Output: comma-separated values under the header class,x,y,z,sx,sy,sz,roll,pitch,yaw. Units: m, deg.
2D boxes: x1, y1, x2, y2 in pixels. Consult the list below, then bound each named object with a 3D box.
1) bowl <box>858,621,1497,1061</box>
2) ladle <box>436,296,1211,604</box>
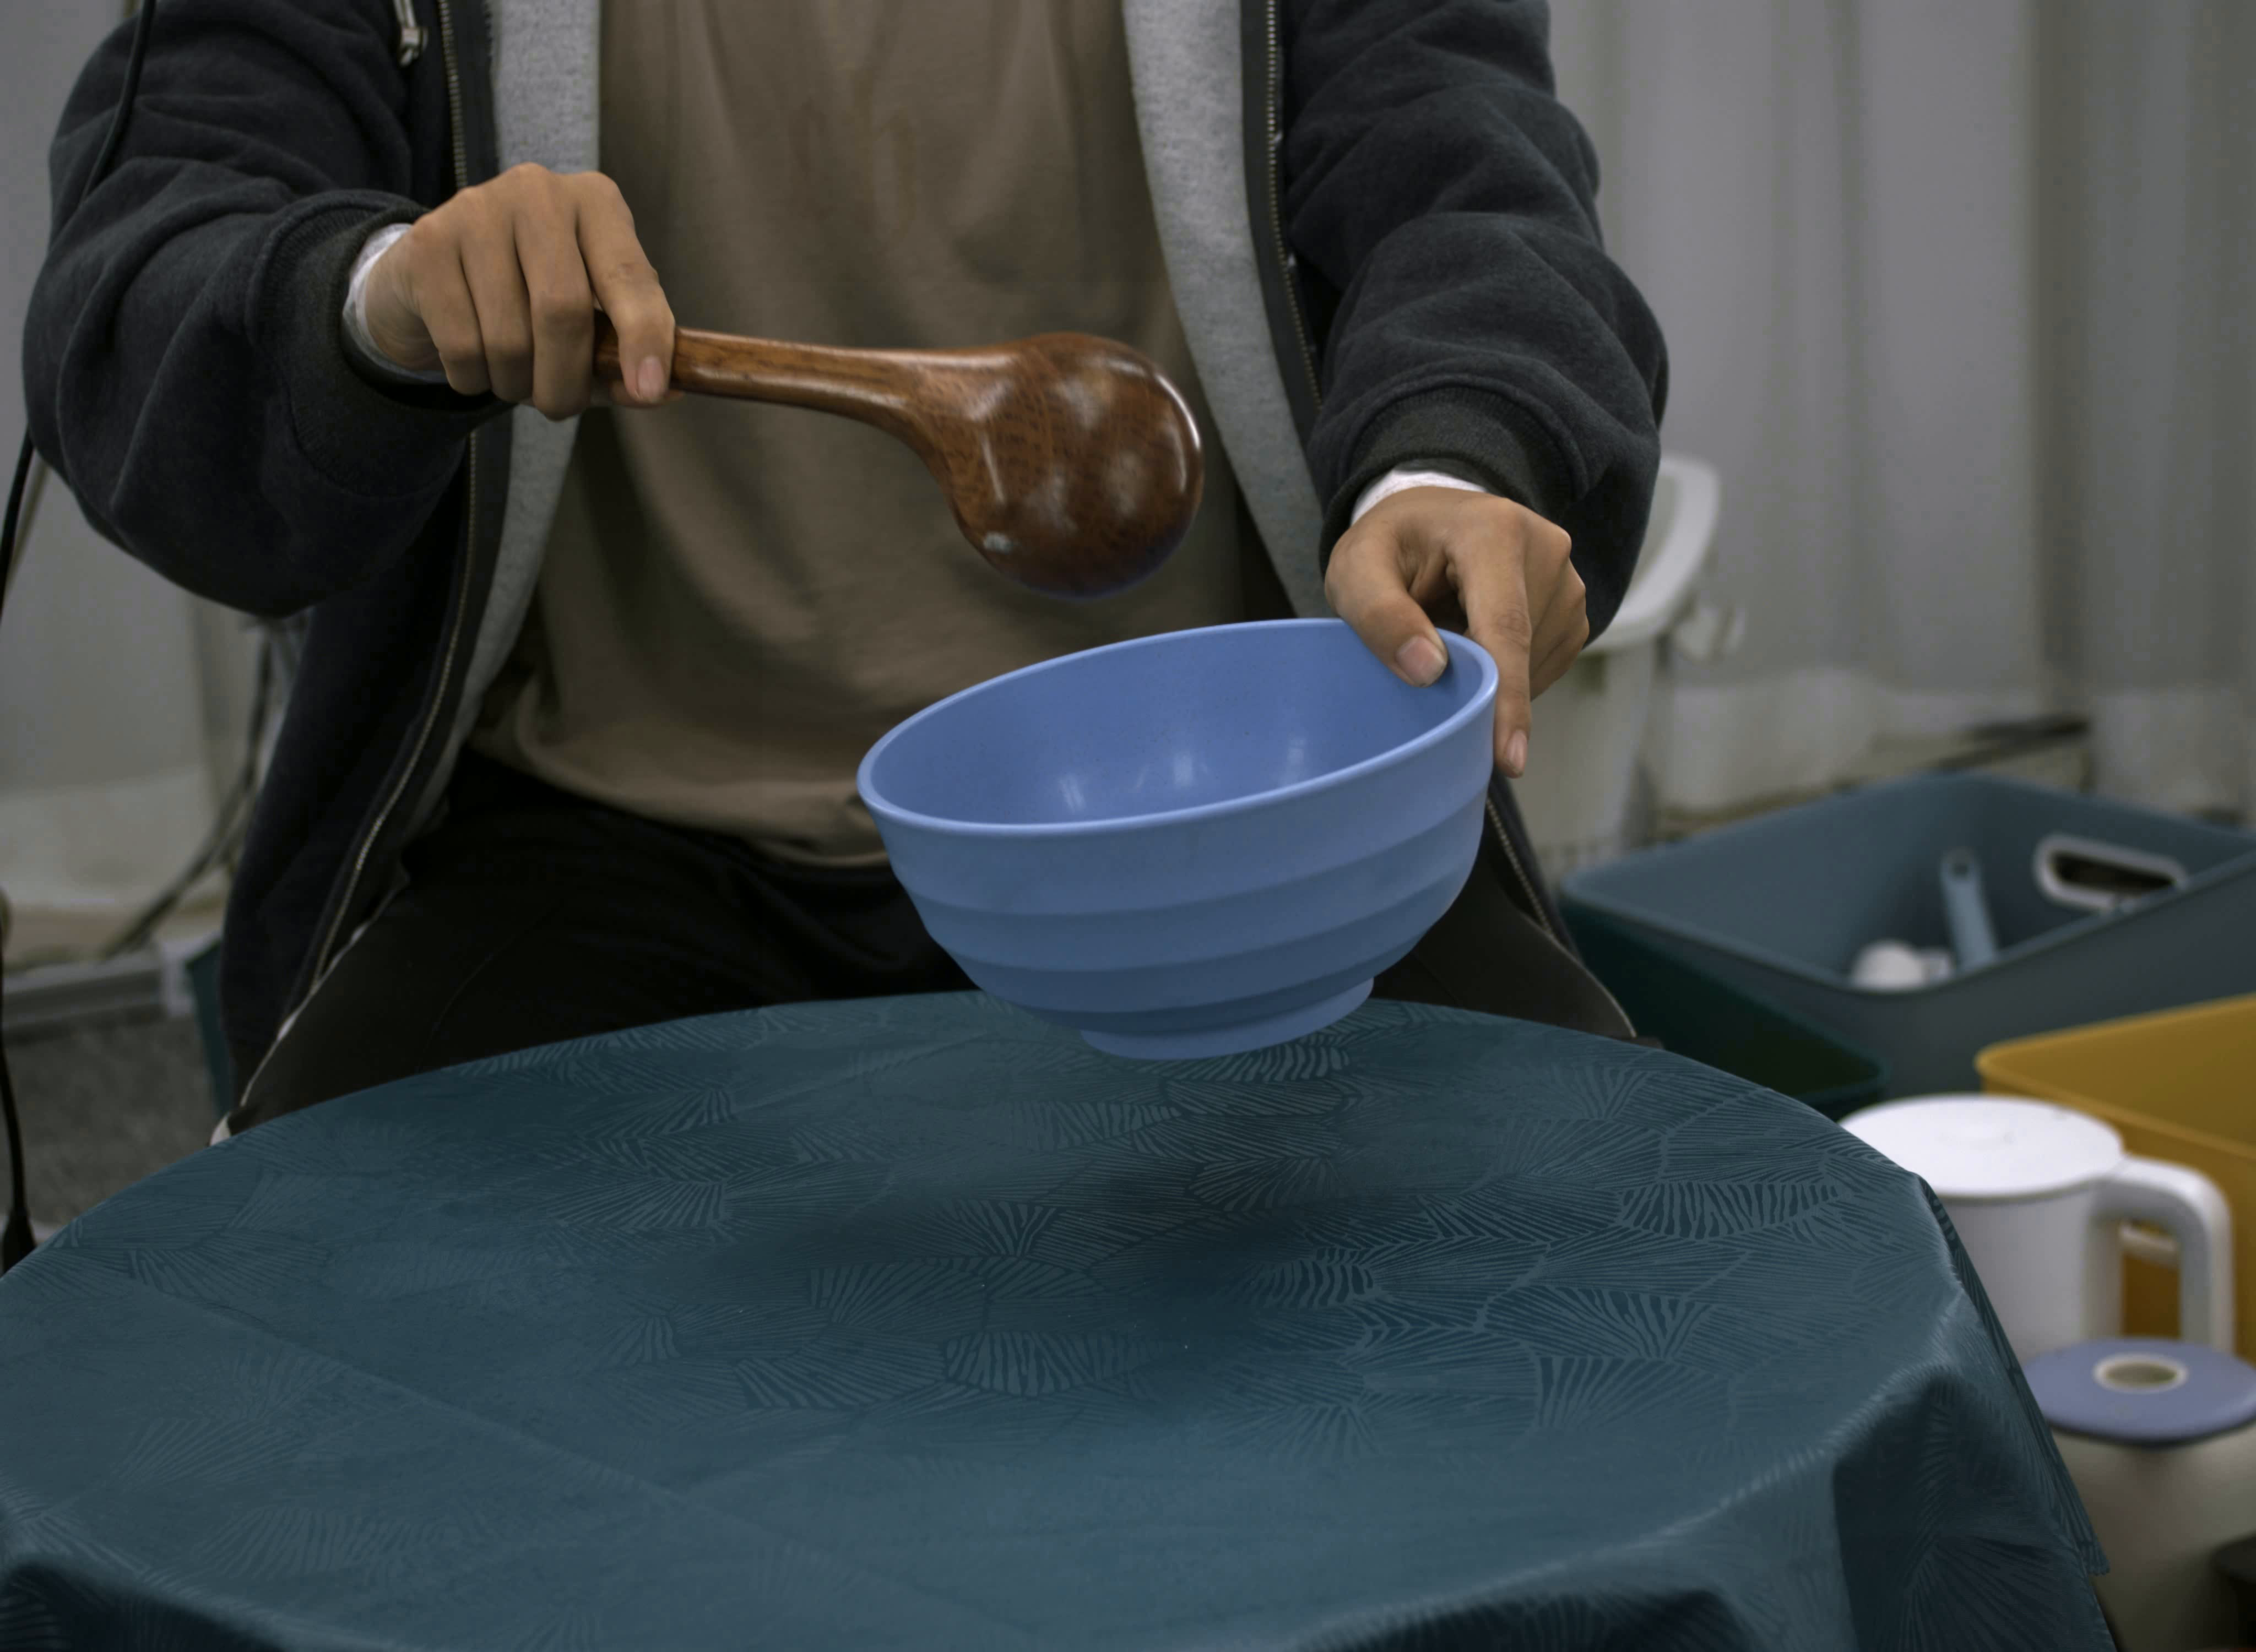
class,x,y,z,sx,sy,sz,roll,pitch,yaw
bowl,0.022,0.011,1.662,0.196,0.095,0.198,-10,16,3
ladle,-0.094,-0.125,1.688,0.275,0.082,0.075,11,-25,39
